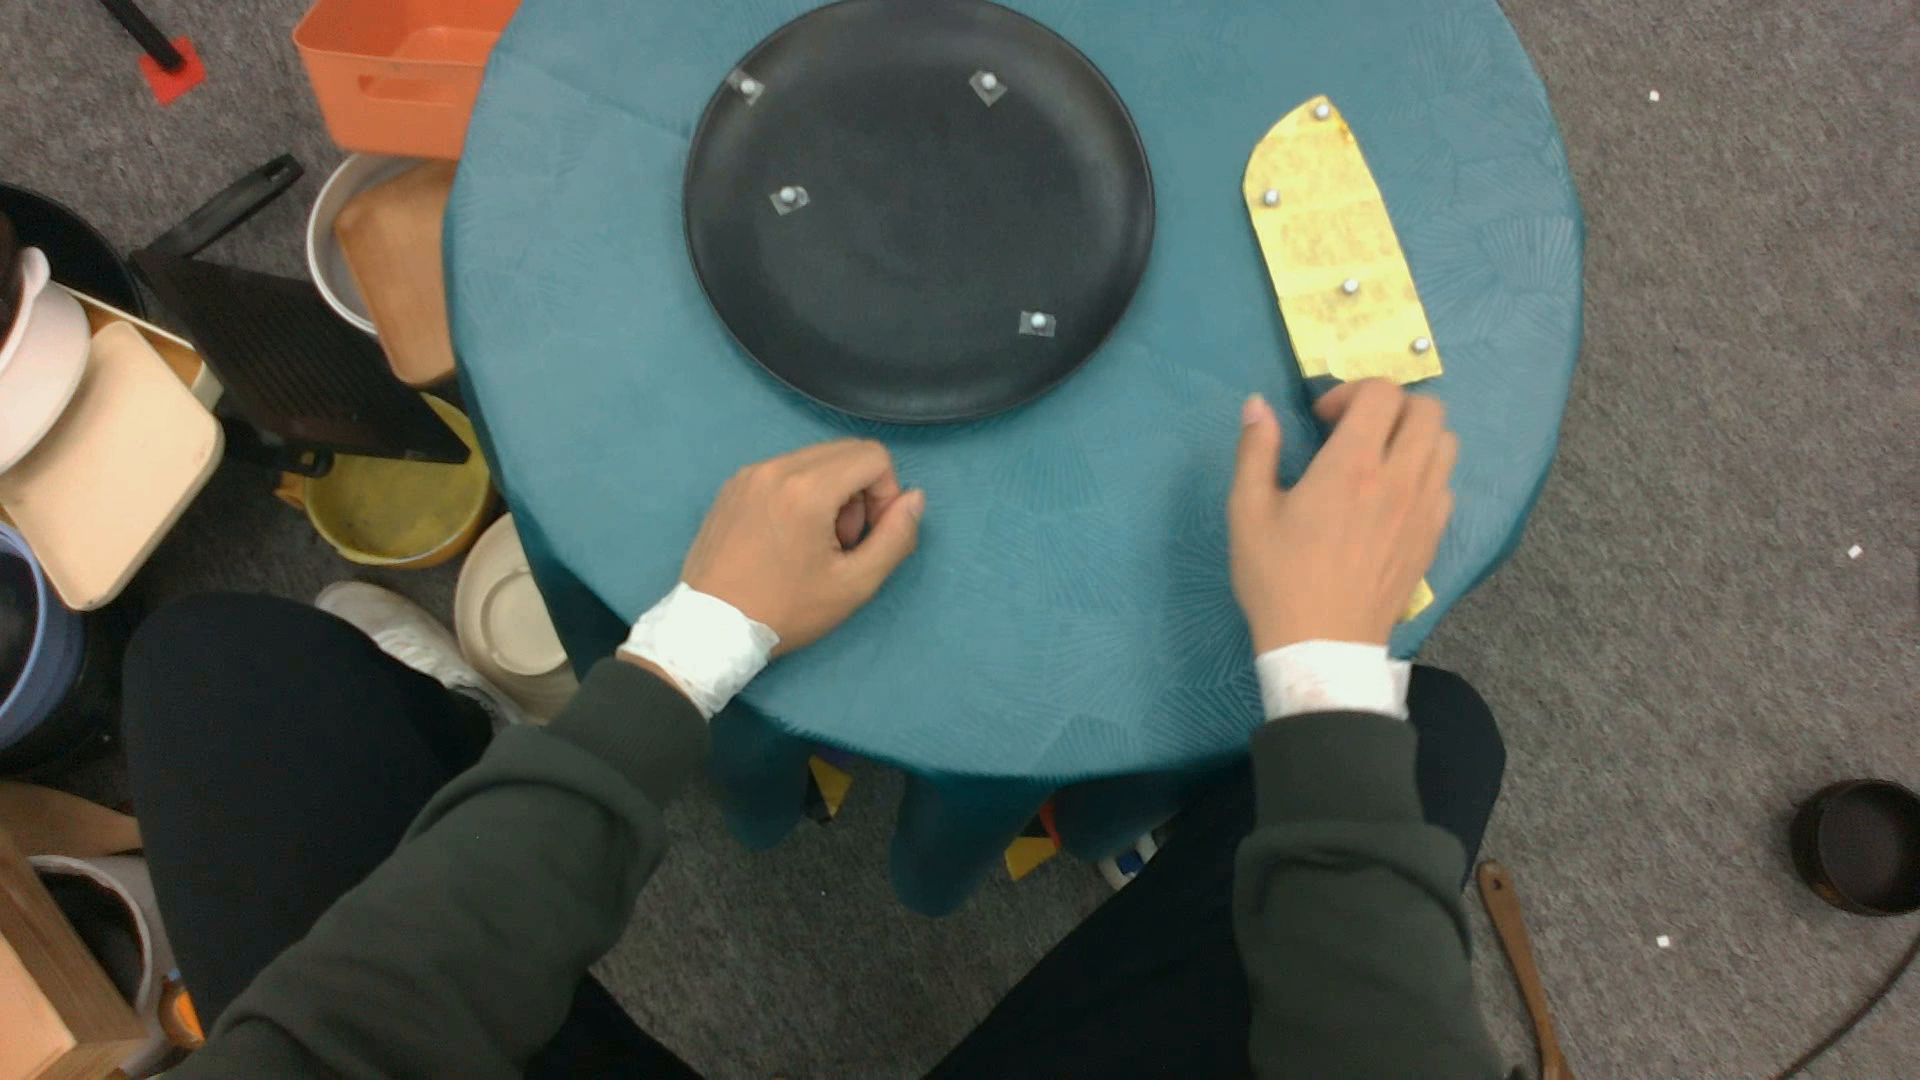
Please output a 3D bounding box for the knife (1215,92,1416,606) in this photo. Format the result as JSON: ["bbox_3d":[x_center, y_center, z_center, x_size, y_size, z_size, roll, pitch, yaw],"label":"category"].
[{"bbox_3d":[0.197,-0.108,0.722,0.081,0.027,0.290,-10,77,-5],"label":"knife"}]

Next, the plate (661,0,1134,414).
[{"bbox_3d":[-0.031,-0.180,0.717,0.244,0.023,0.245,1,77,-4],"label":"plate"}]
